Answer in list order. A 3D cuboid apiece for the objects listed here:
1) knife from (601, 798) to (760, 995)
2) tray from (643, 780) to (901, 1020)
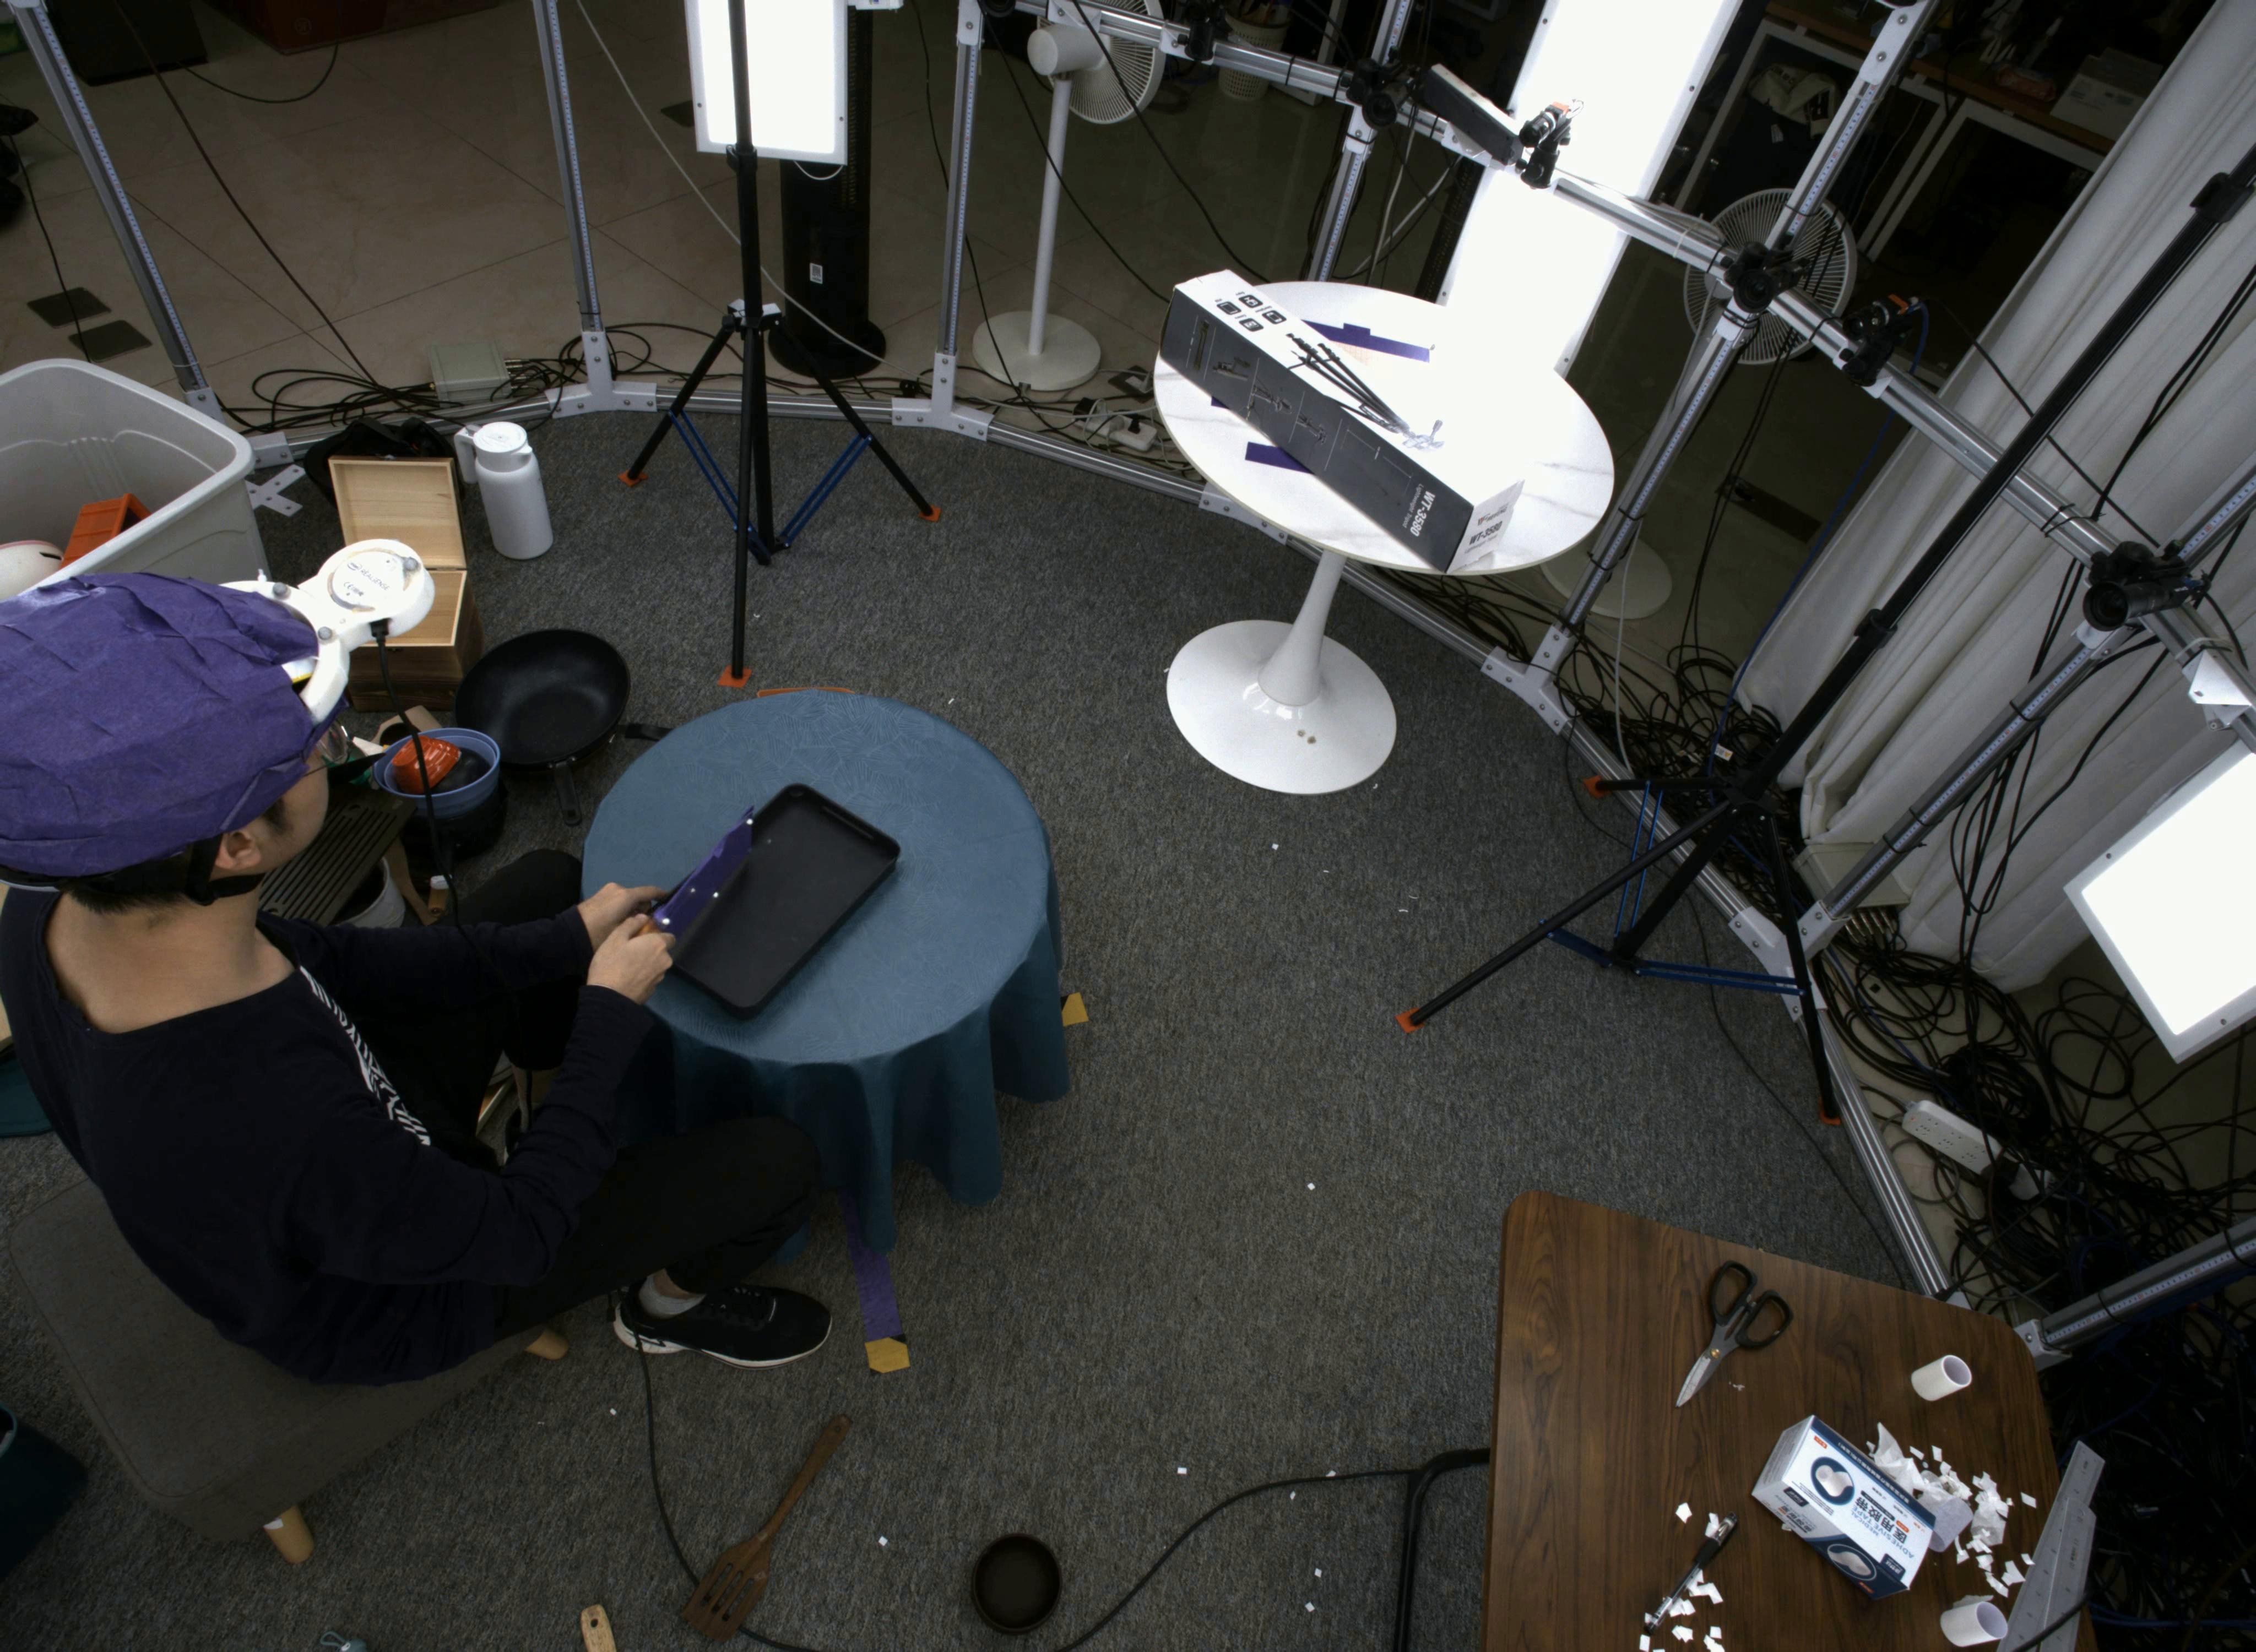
[{"bbox_3d":[-0.519,0.095,1.521,0.032,0.106,0.313,24,45,6],"label":"knife"},{"bbox_3d":[-0.444,0.084,1.635,0.182,0.037,0.316,31,51,6],"label":"tray"}]
